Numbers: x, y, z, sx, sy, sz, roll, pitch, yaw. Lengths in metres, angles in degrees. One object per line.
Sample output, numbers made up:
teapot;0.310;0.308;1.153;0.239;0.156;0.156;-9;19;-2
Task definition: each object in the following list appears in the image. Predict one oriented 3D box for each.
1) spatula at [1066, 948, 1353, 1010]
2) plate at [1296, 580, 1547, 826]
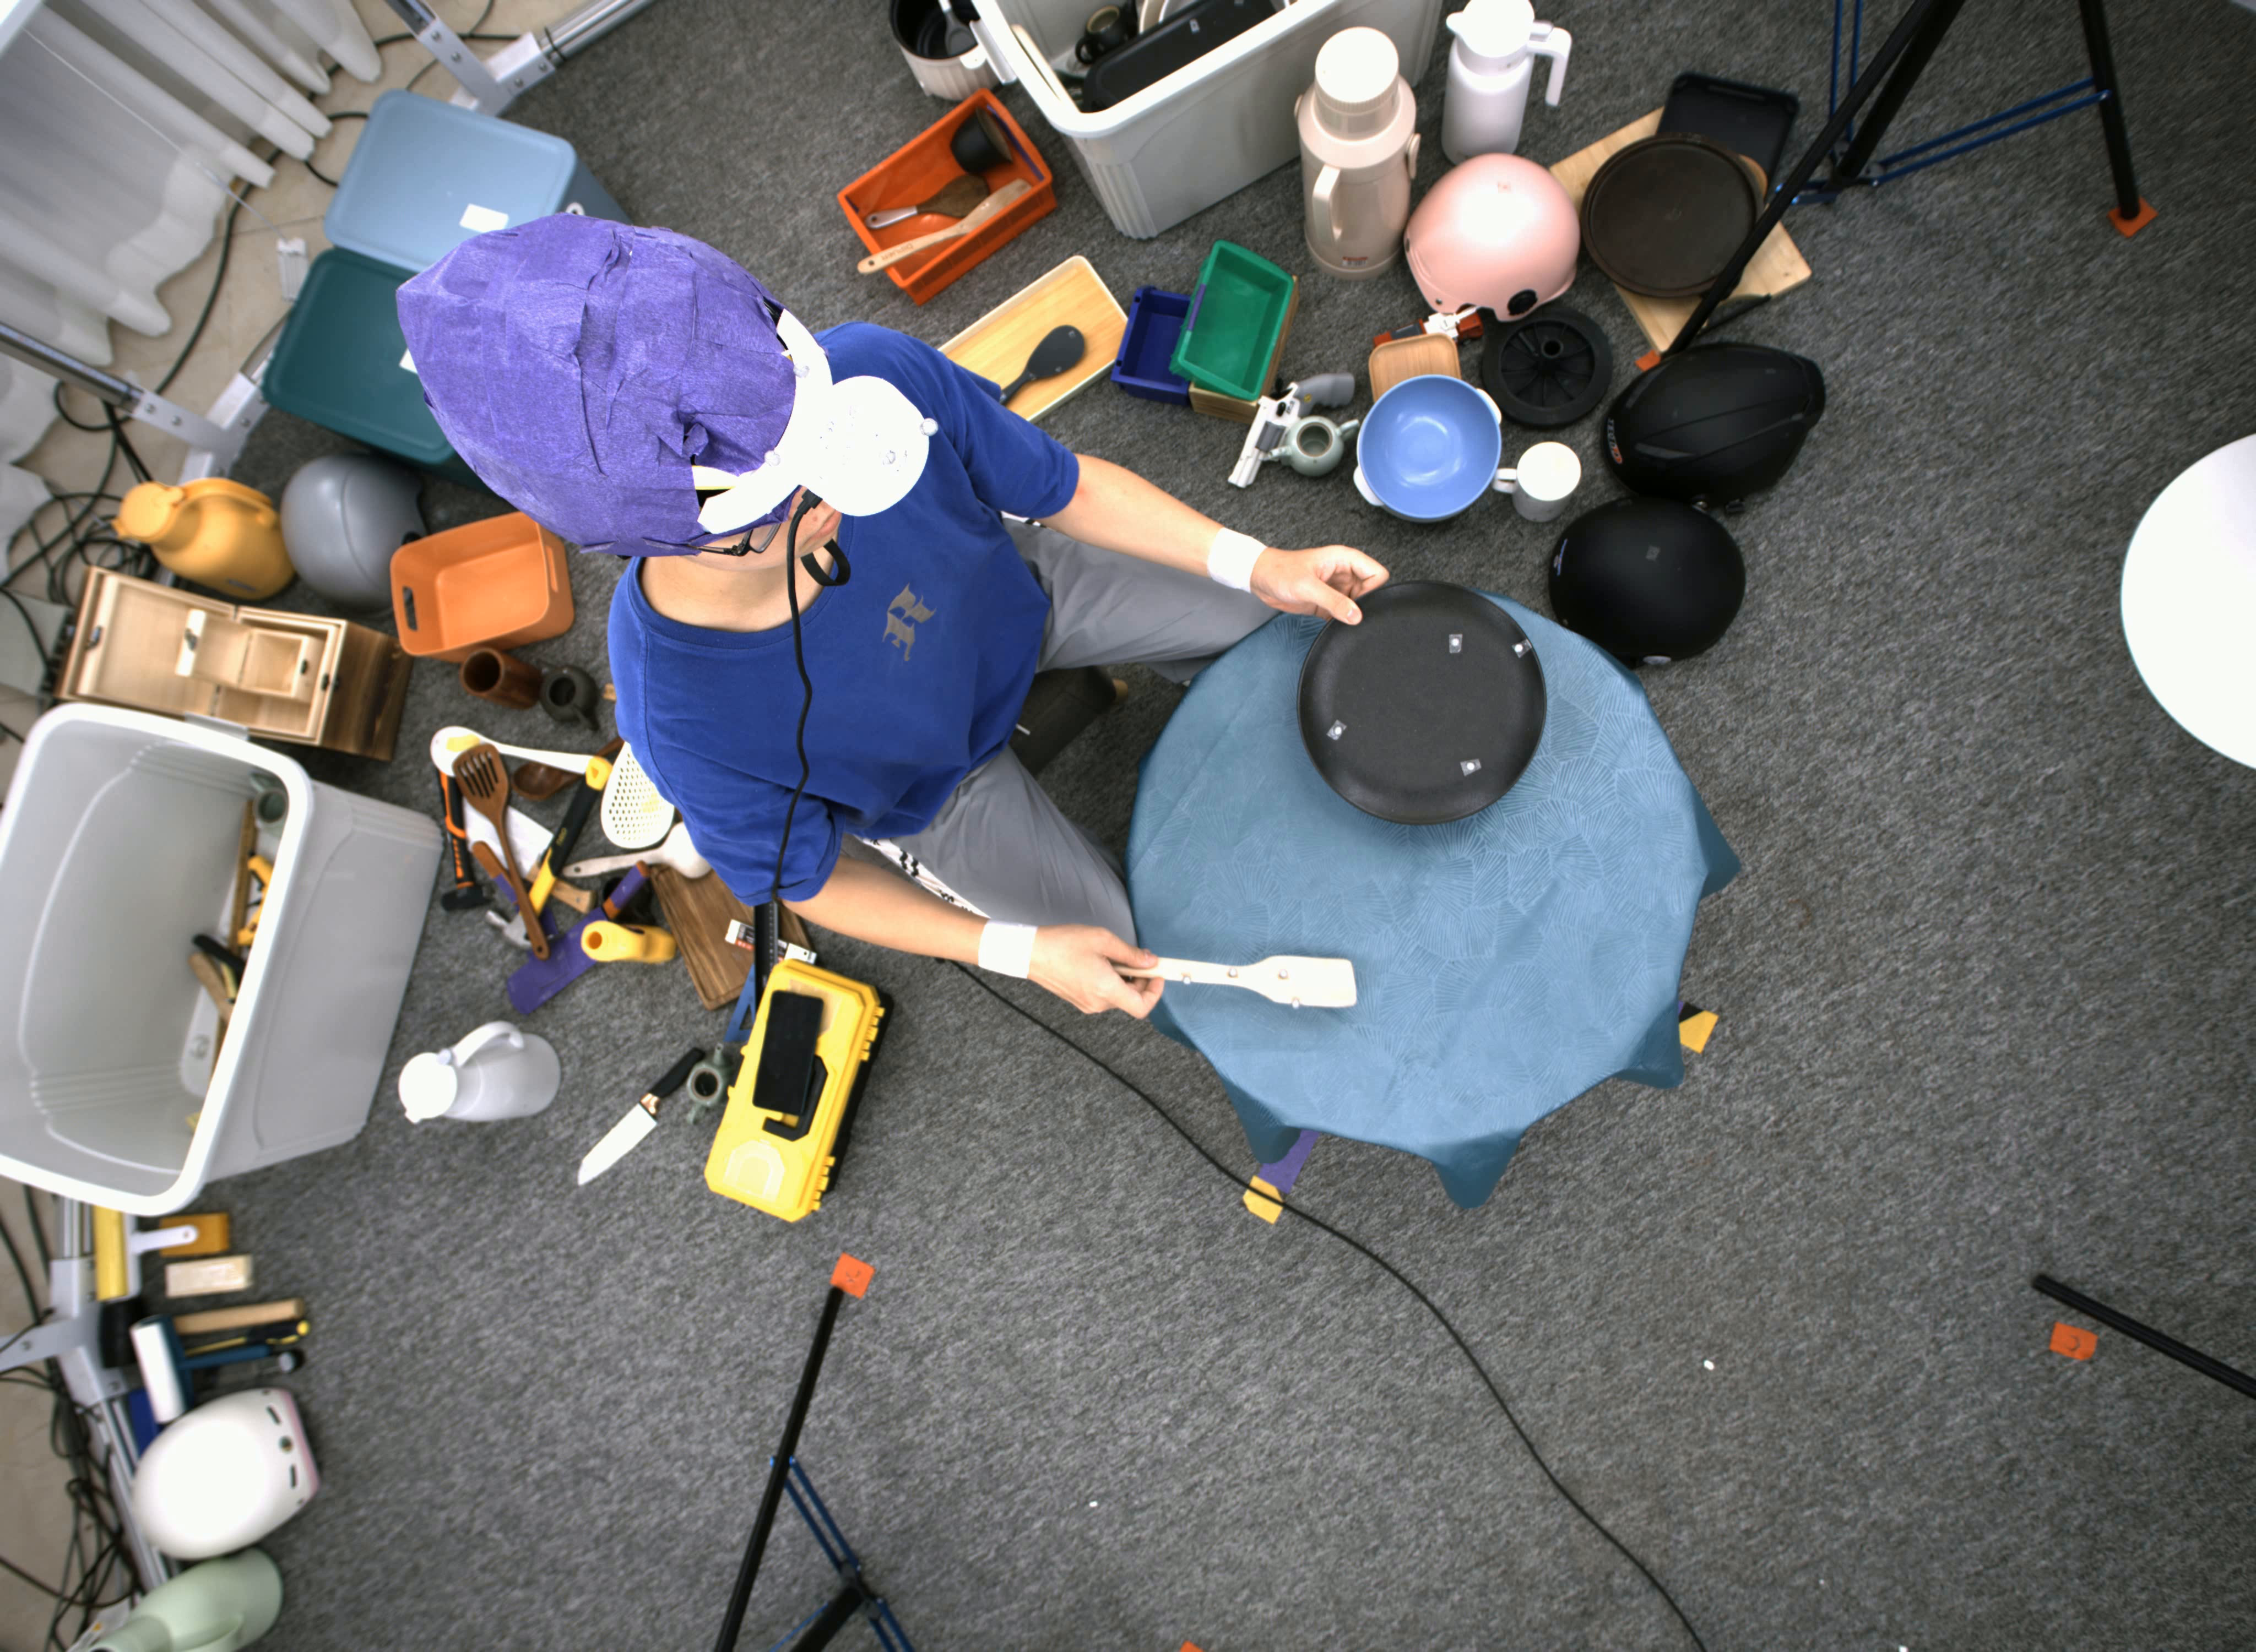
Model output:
spatula;0.083;0.149;1.416;0.293;0.070;0.011;5;128;0
plate;0.288;-0.122;1.356;0.245;0.023;0.247;4;105;15
